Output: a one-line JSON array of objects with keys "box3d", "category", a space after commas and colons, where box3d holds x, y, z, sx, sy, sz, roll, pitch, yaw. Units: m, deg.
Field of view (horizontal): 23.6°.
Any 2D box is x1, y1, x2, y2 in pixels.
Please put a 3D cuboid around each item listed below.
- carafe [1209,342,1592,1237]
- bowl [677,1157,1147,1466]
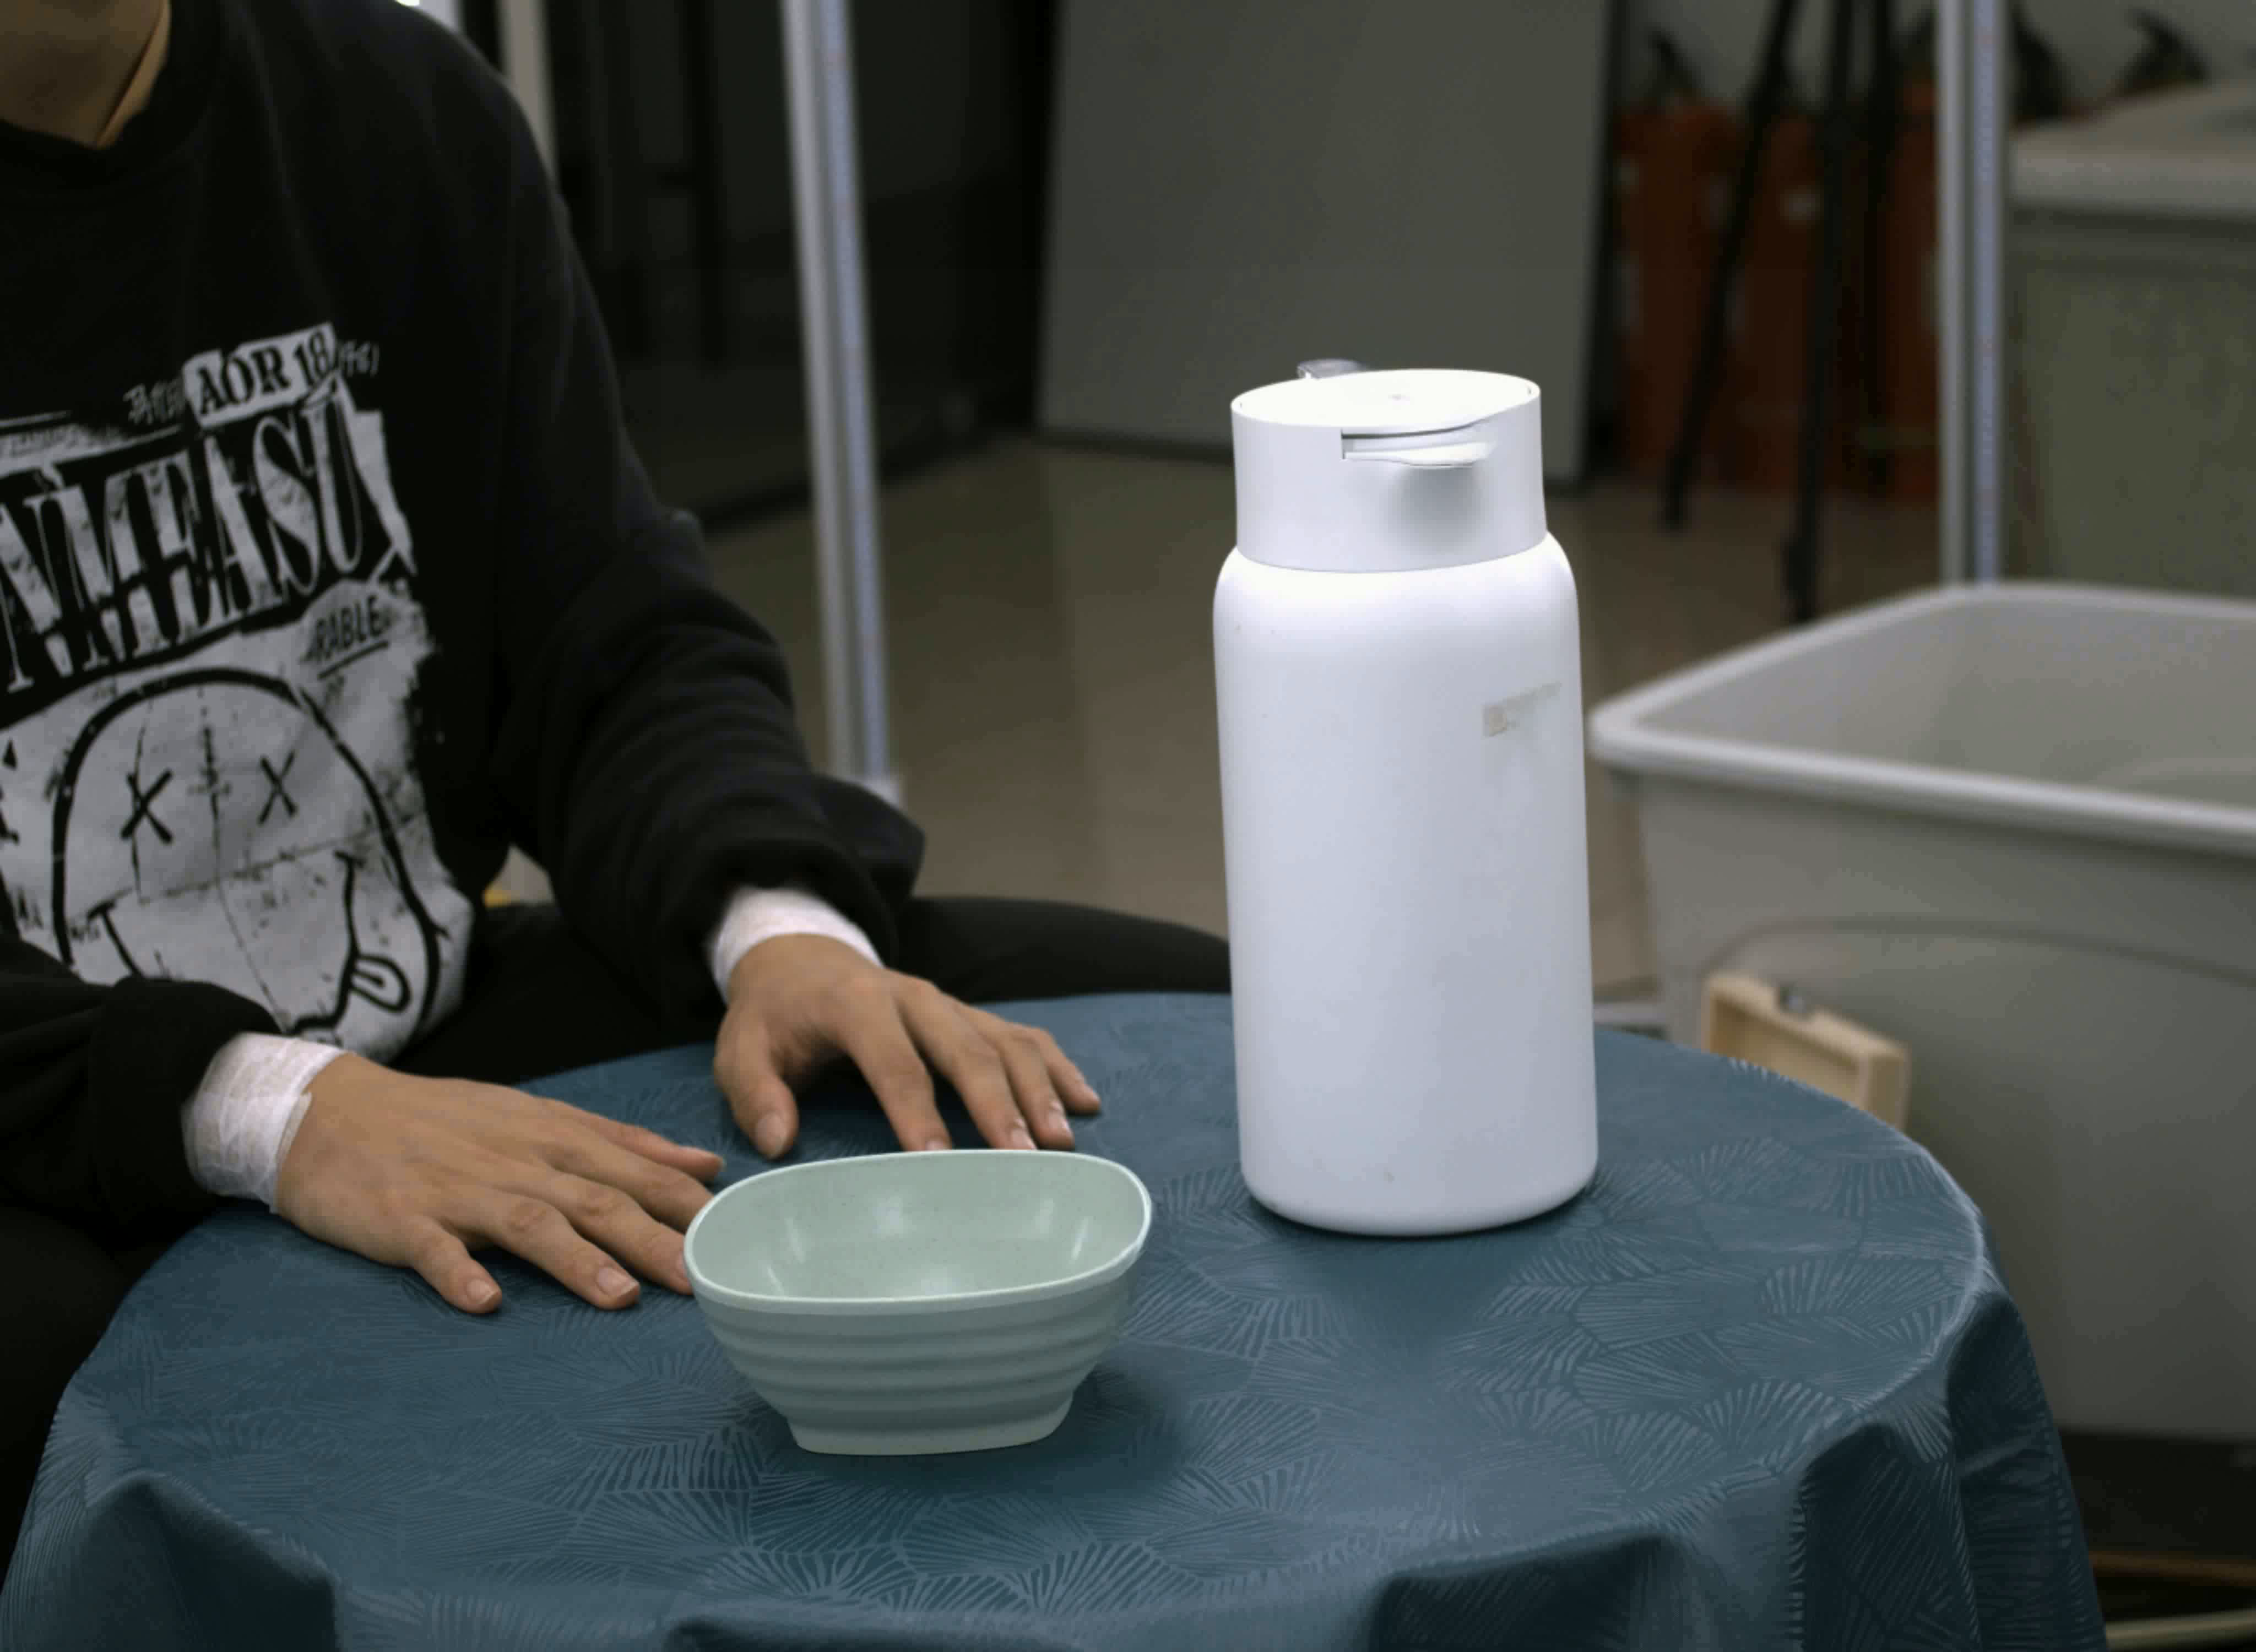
[{"box3d": [0.081, -0.015, 1.740, 0.121, 0.272, 0.174, -9, 14, -13], "category": "carafe"}, {"box3d": [-0.061, 0.146, 1.584, 0.149, 0.059, 0.152, -4, 14, 0], "category": "bowl"}]
